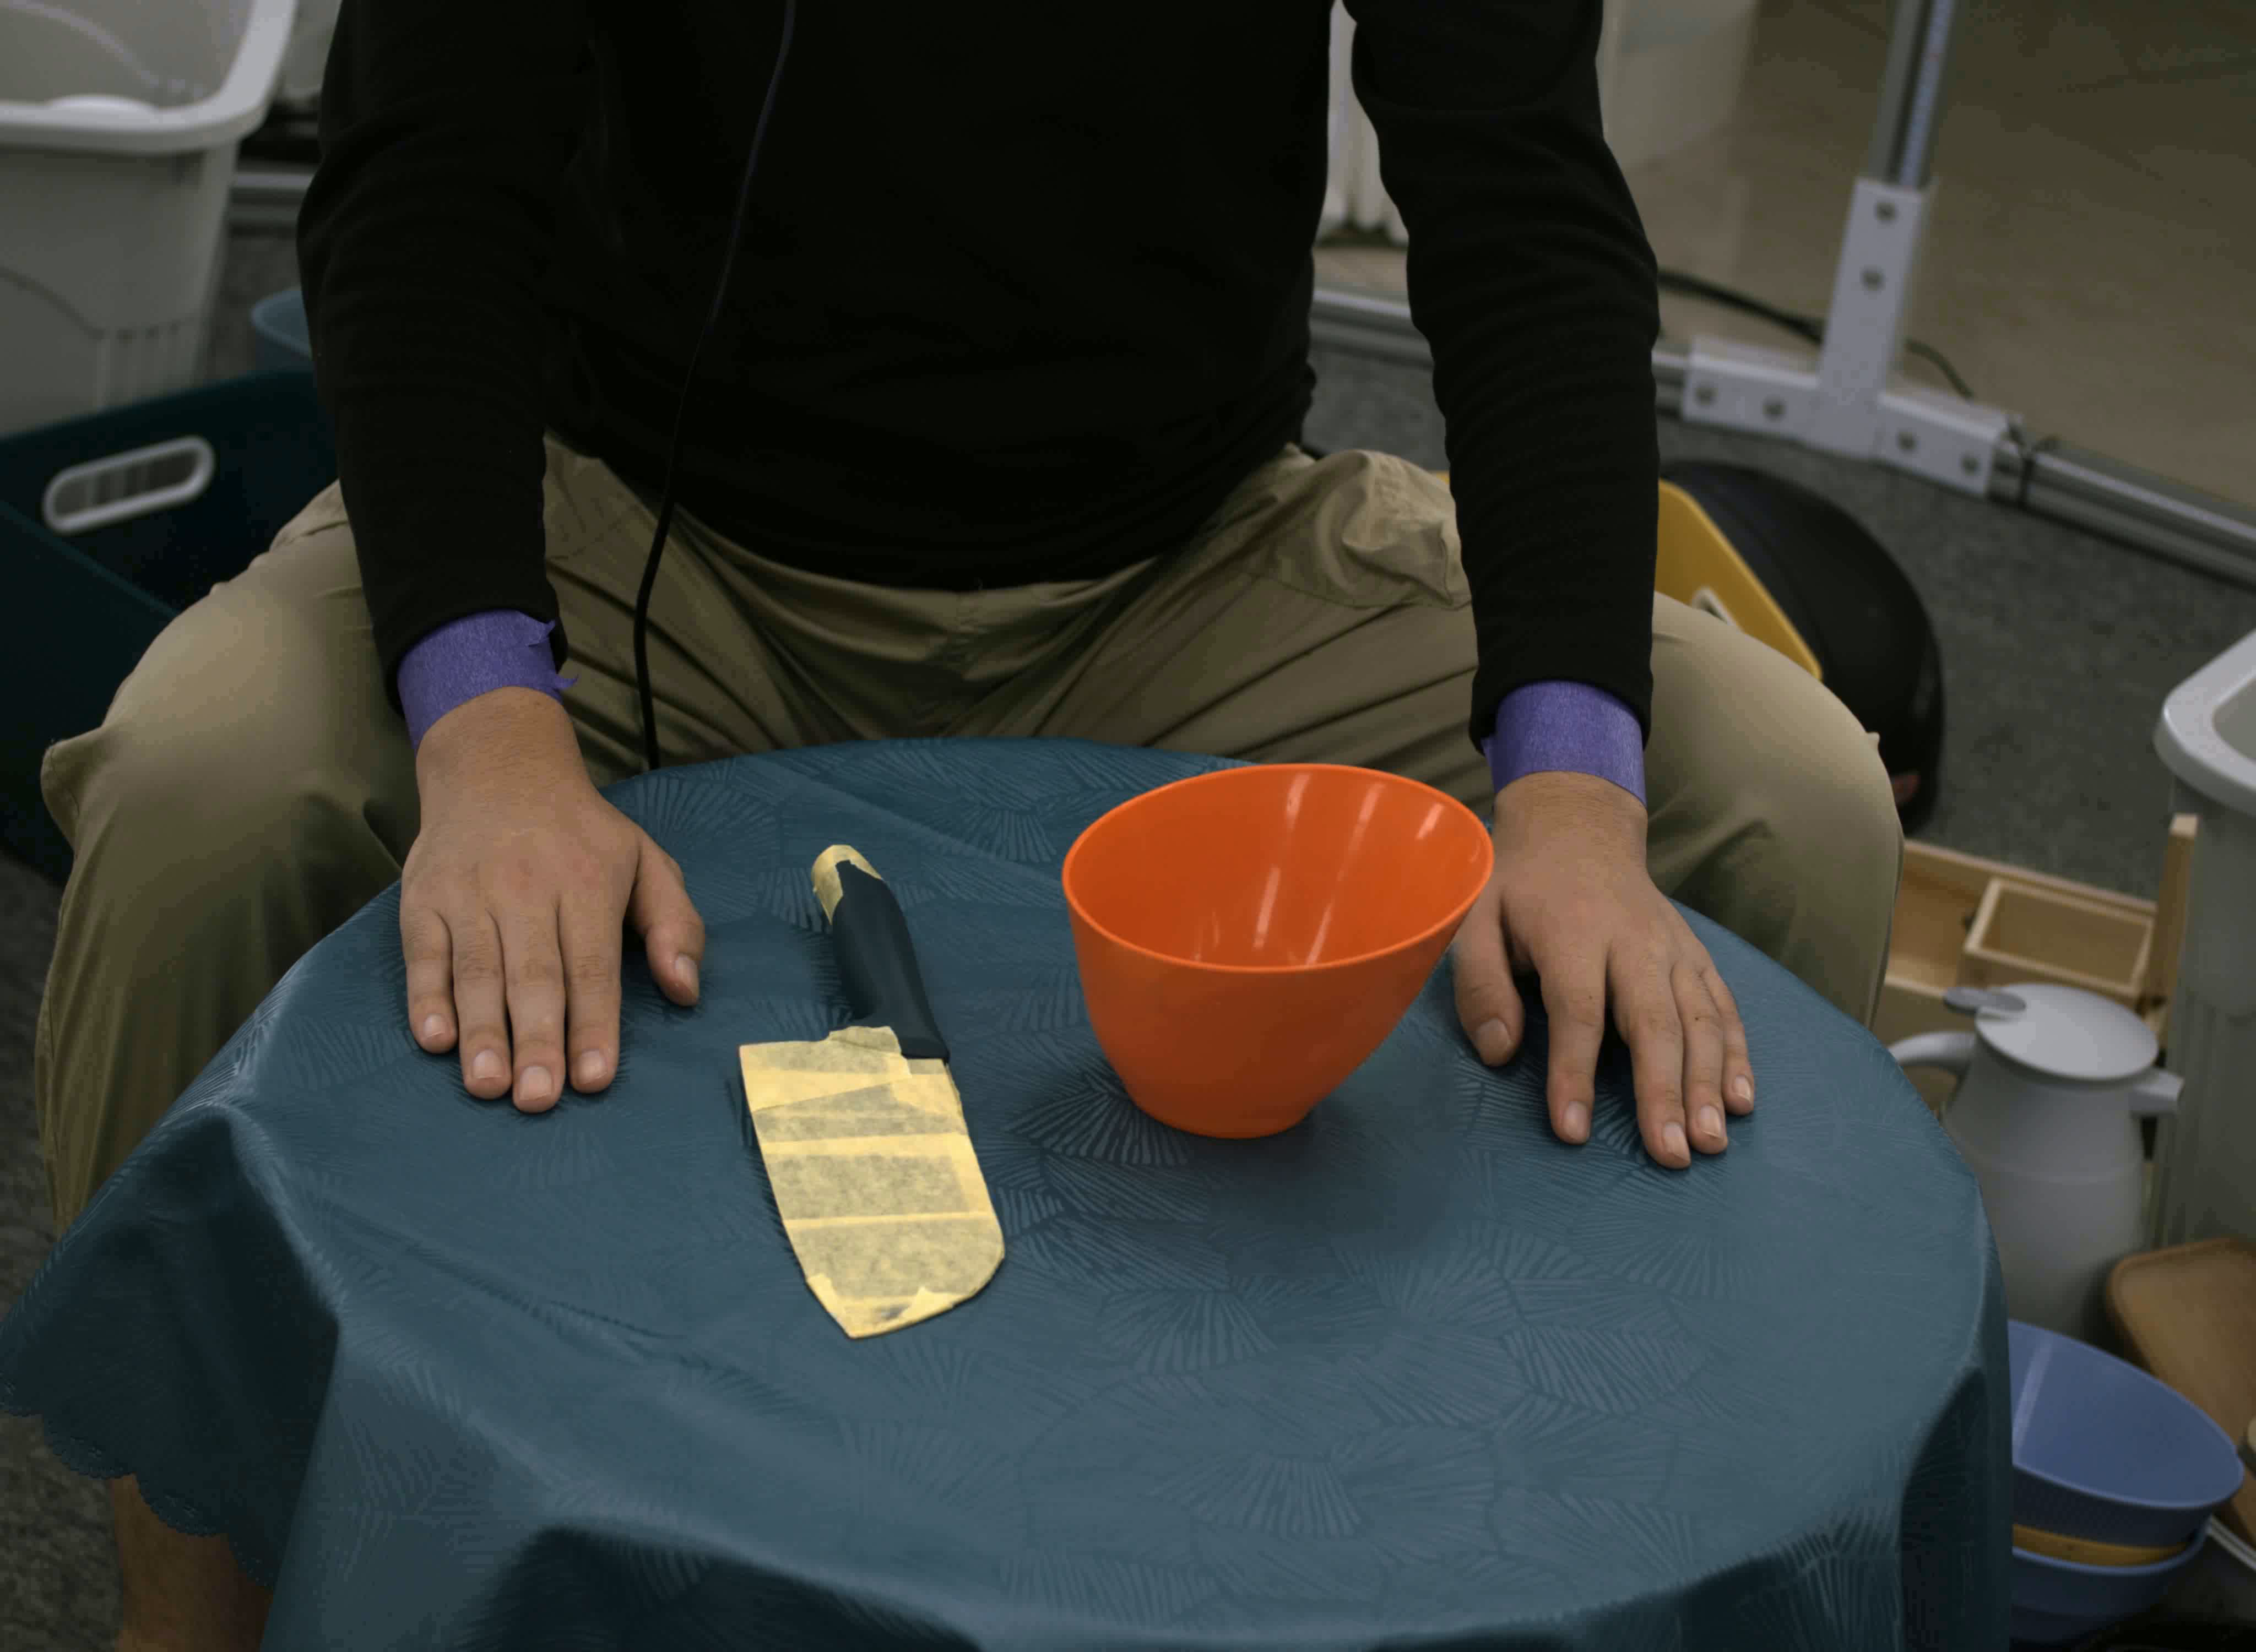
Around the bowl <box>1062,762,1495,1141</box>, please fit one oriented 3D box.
[{"bbox_3d":[0.048,0.049,1.849,0.147,0.104,0.149,5,28,-3],"label":"bowl"}]

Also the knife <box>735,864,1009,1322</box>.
[{"bbox_3d":[-0.094,0.090,1.835,0.080,0.027,0.292,2,28,-12],"label":"knife"}]
